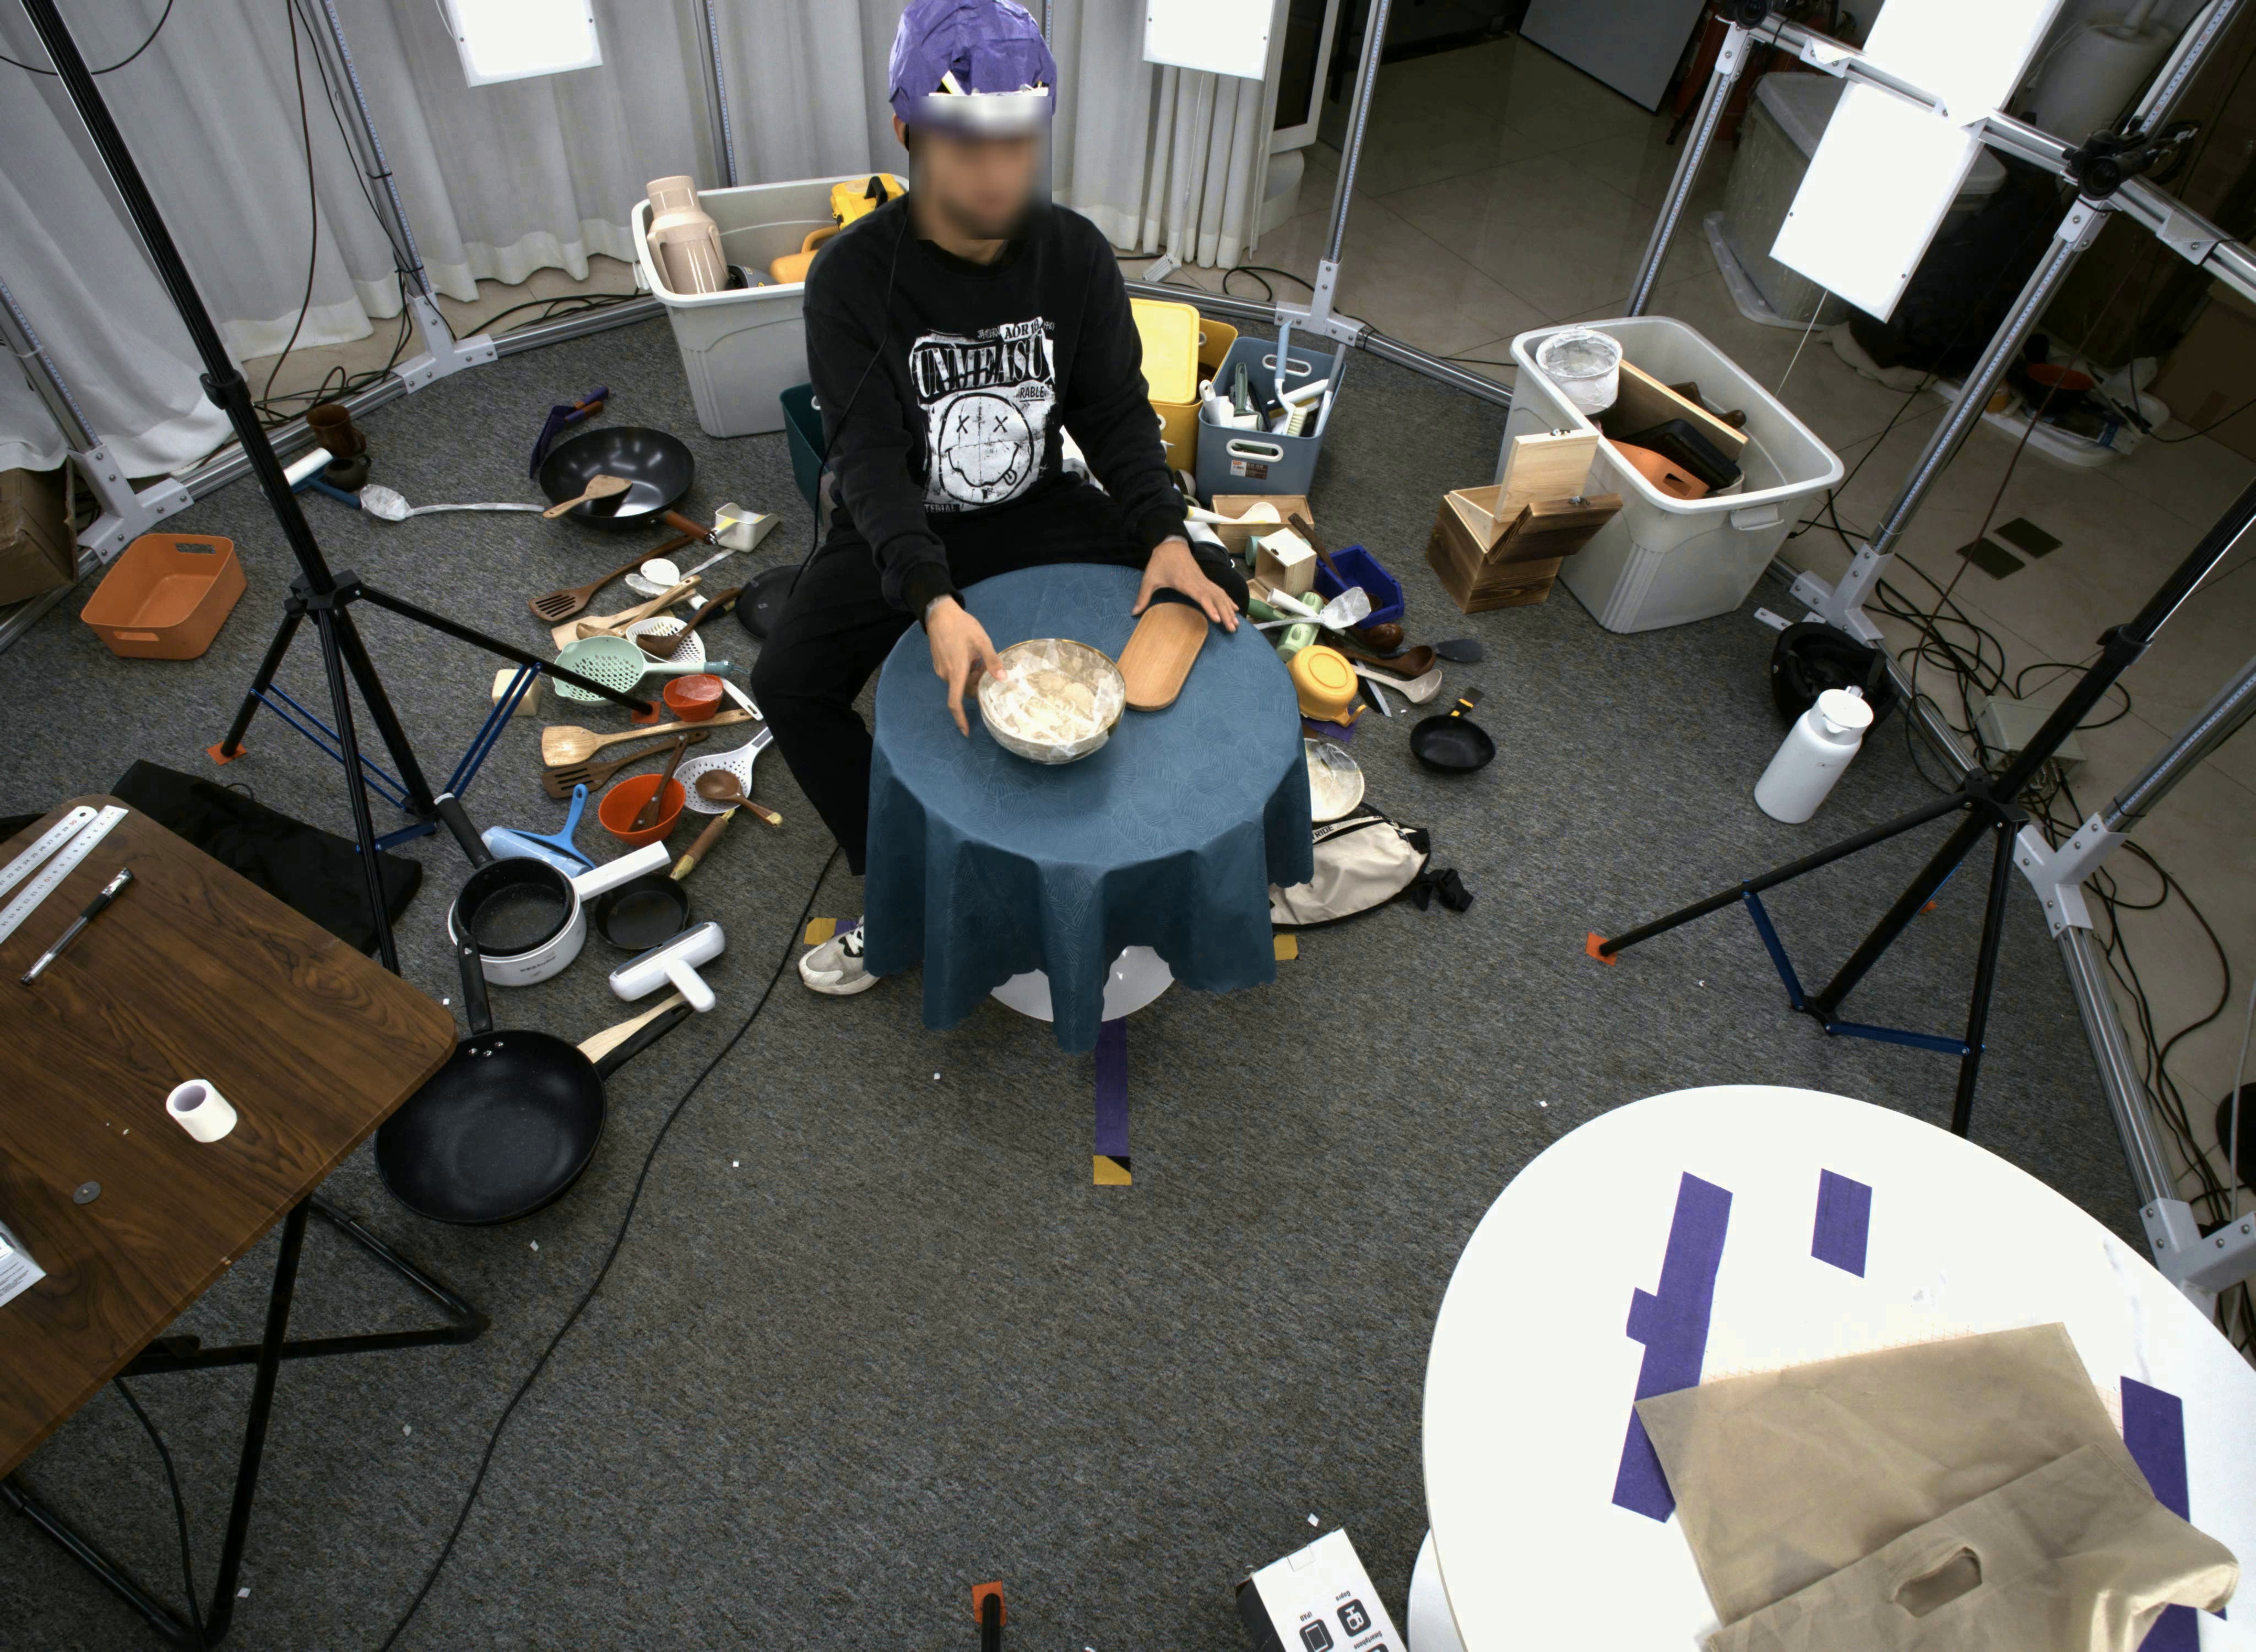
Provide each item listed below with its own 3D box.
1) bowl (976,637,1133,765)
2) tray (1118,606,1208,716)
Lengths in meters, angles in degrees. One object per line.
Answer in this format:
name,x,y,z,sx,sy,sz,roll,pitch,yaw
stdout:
bowl,-0.100,-0.156,1.753,0.214,0.092,0.220,1,49,-1
tray,0.048,-0.245,1.892,0.102,0.020,0.236,15,52,12
